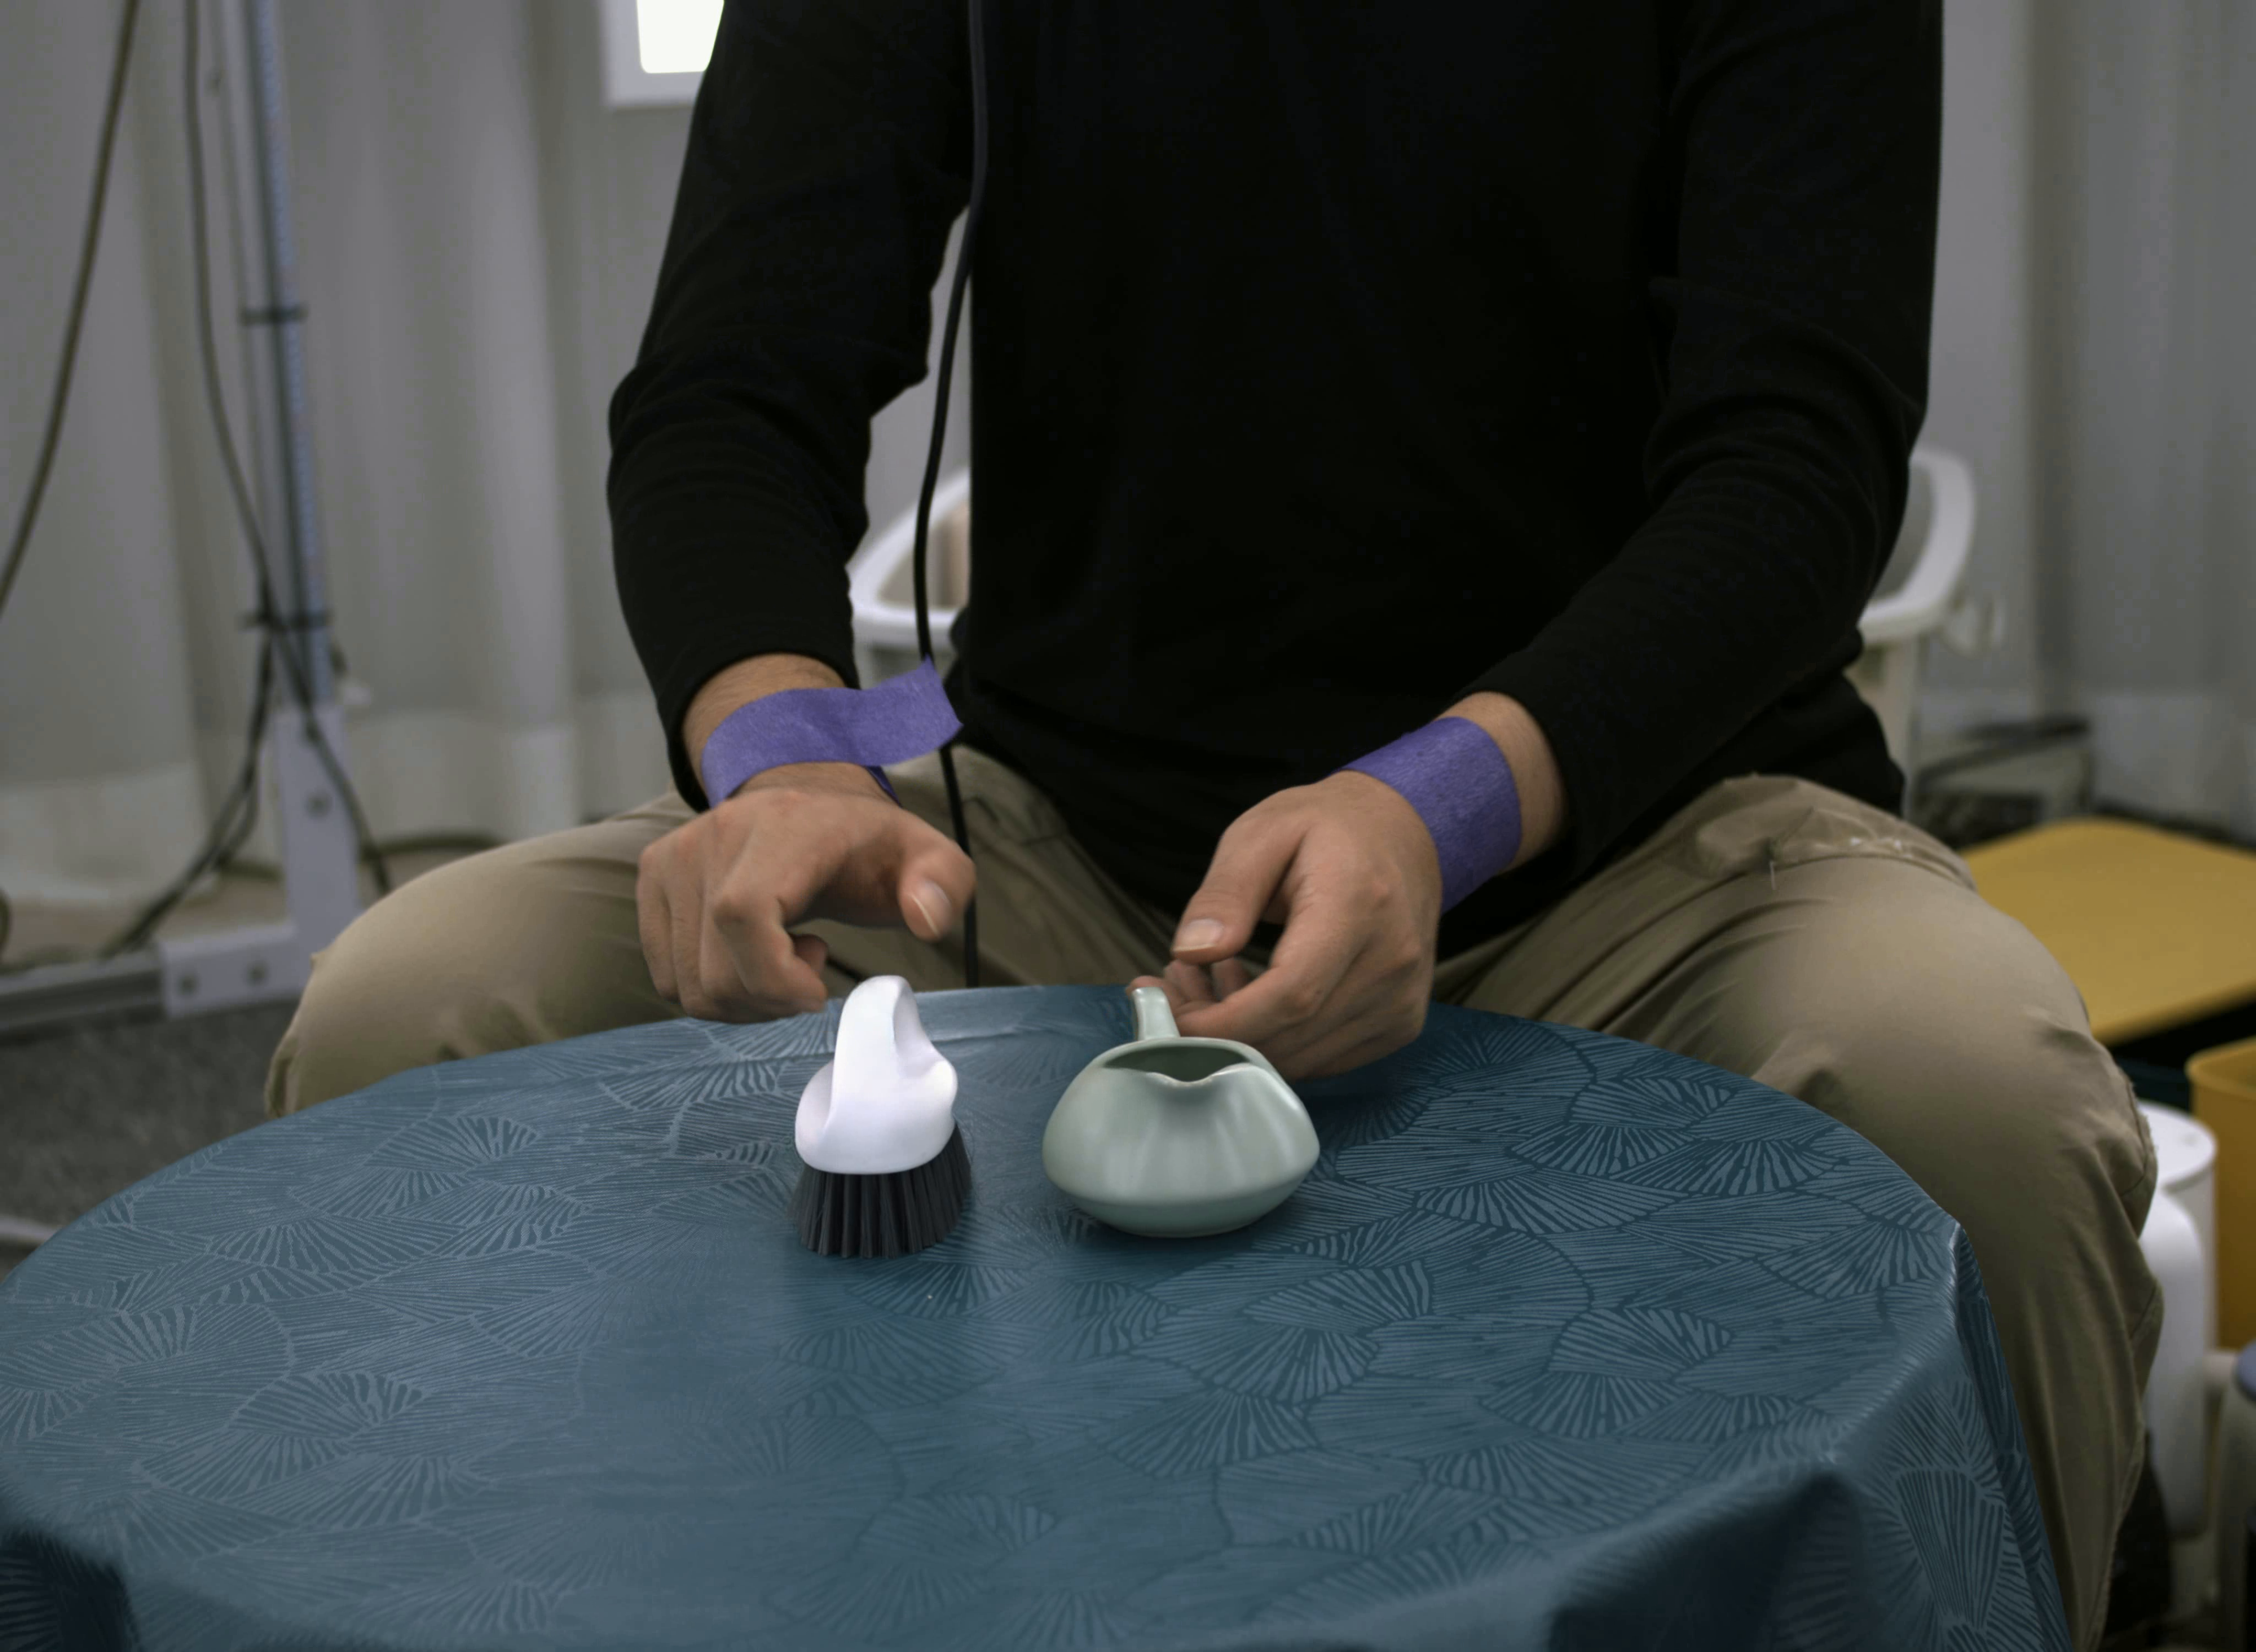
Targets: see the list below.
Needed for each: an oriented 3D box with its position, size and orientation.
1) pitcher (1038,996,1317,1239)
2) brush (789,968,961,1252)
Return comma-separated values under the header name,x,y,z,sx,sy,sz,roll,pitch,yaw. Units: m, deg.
name,x,y,z,sx,sy,sz,roll,pitch,yaw
pitcher,0.013,0.091,1.696,0.085,0.060,0.108,-5,12,-9
brush,-0.079,0.083,1.704,0.050,0.072,0.100,0,16,5
